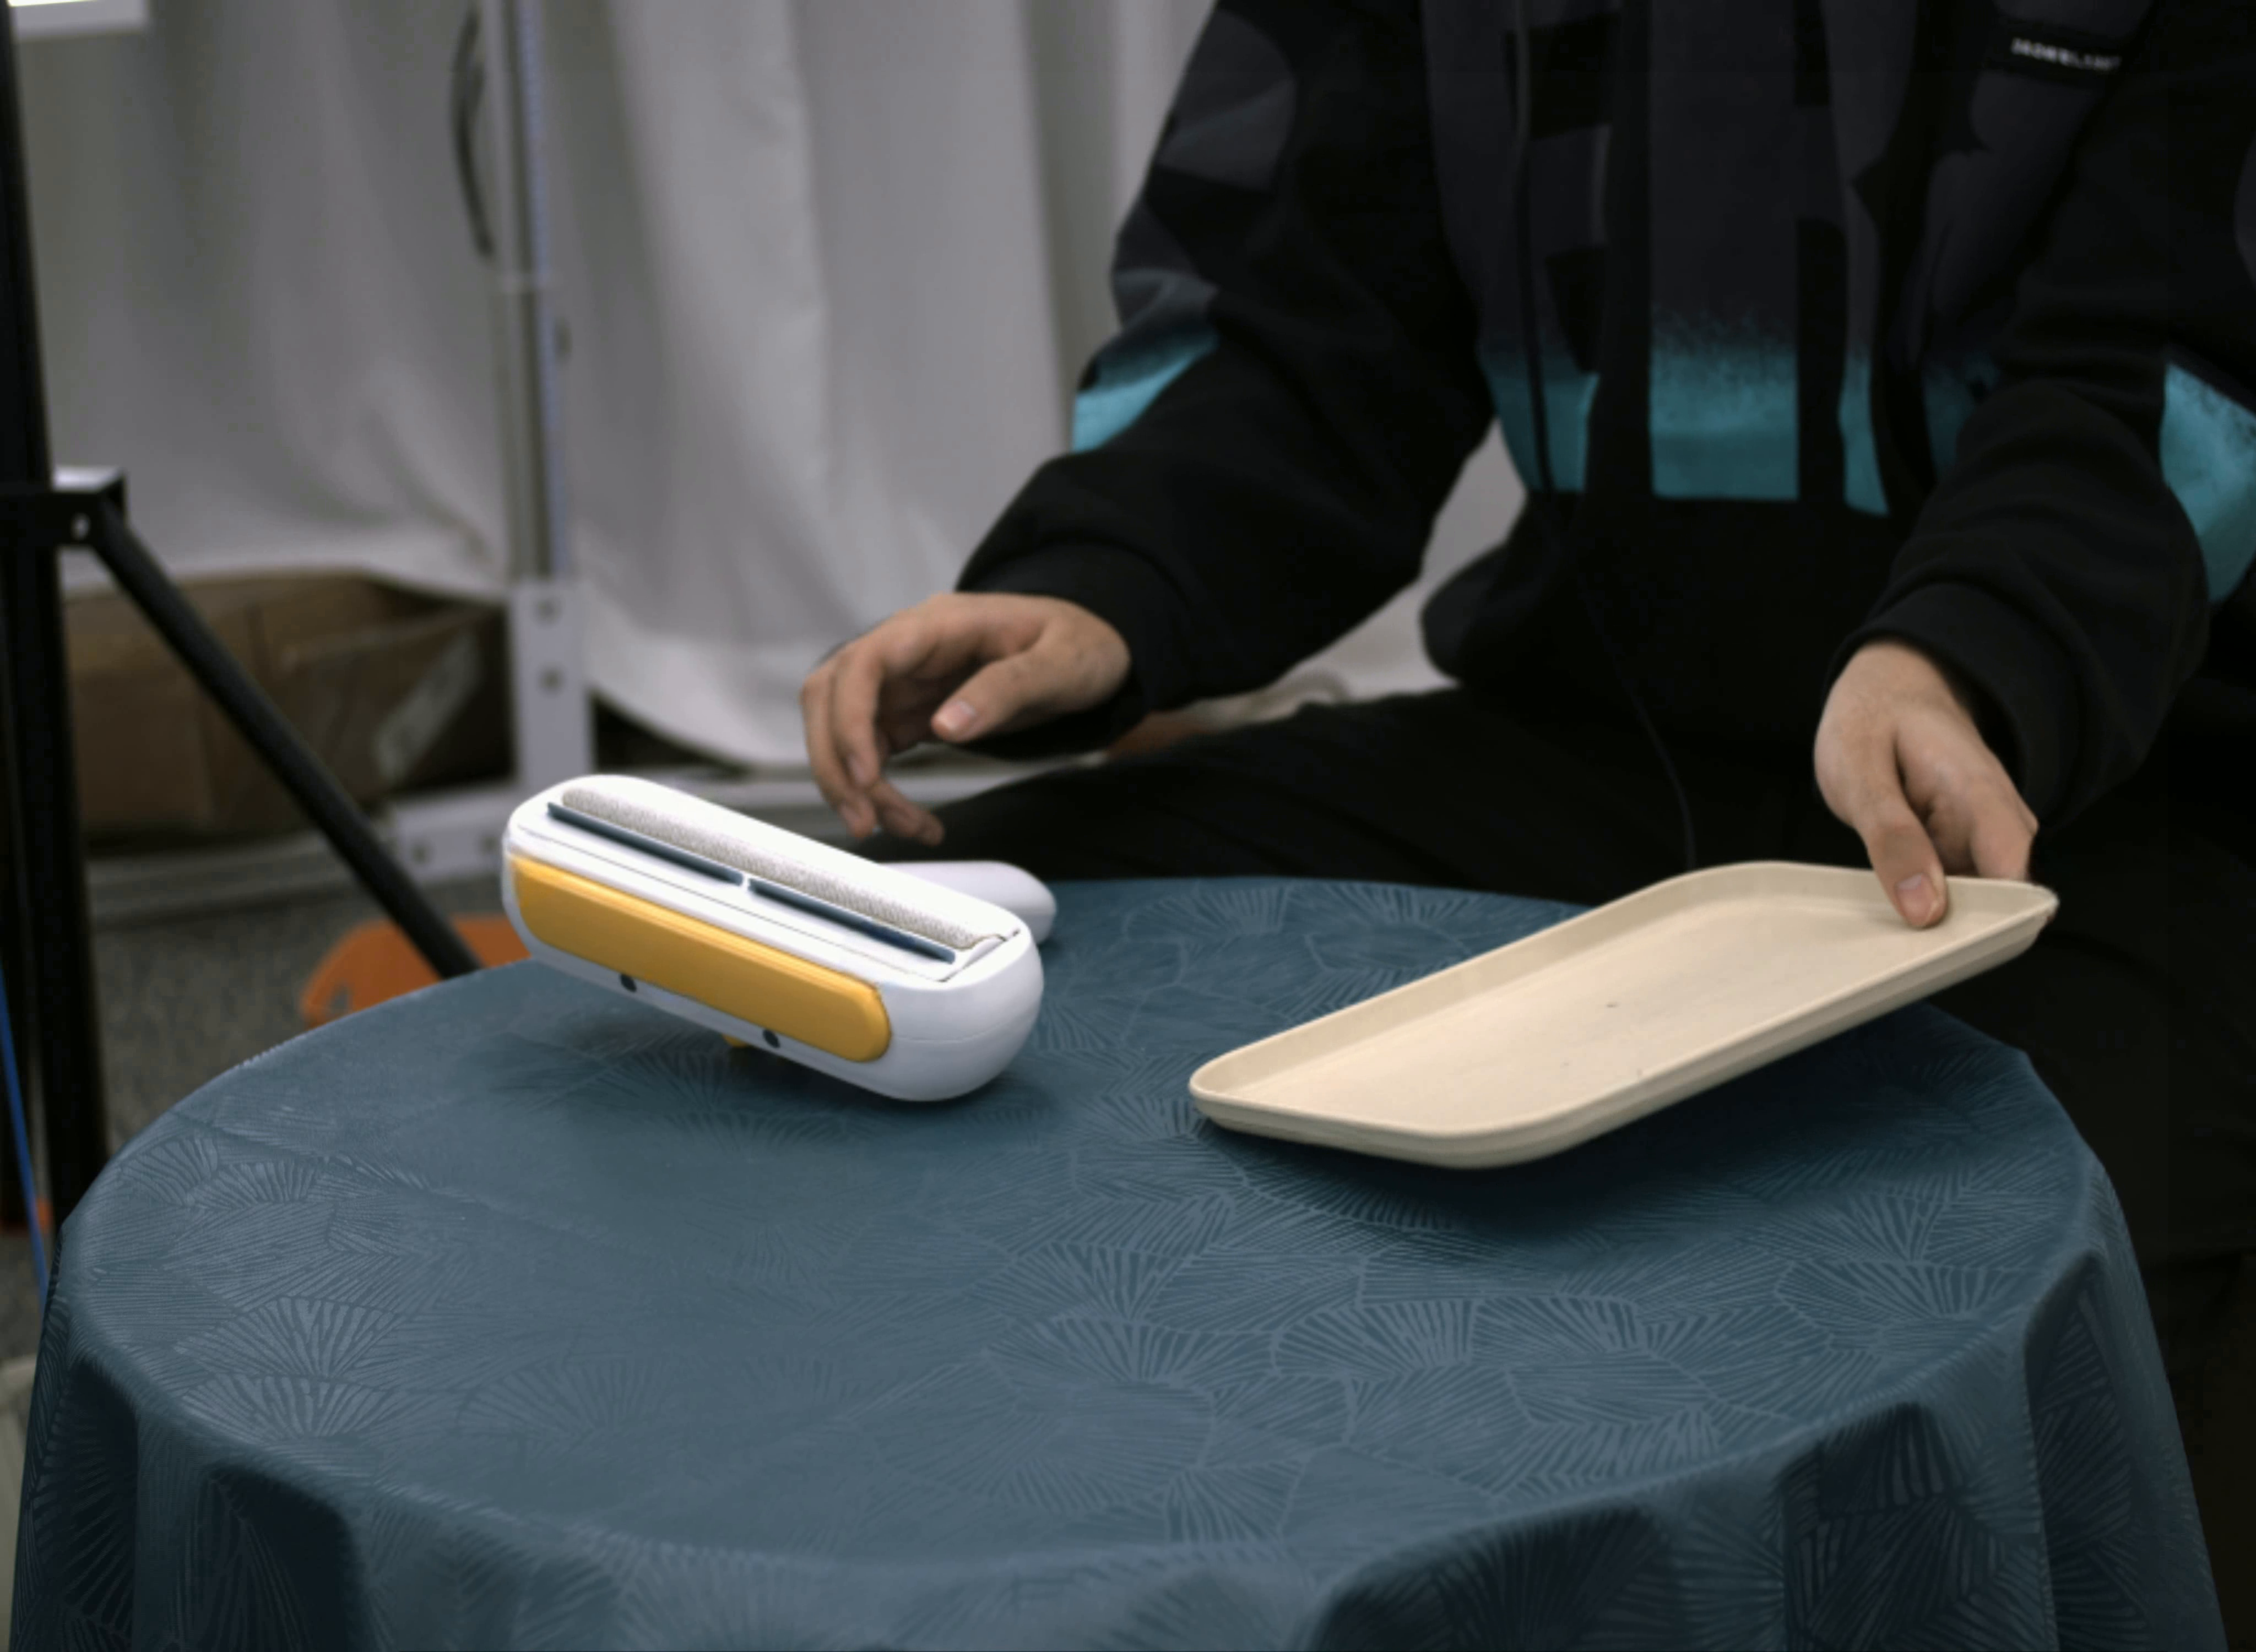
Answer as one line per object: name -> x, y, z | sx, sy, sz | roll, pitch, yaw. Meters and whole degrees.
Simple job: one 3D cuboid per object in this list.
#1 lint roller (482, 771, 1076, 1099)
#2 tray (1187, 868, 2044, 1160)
lint roller -> -0.086, 0.027, 1.734 | 0.197, 0.074, 0.188 | 16, 22, 36
tray -> 0.149, 0.057, 1.607 | 0.235, 0.017, 0.175 | -19, 12, -31
